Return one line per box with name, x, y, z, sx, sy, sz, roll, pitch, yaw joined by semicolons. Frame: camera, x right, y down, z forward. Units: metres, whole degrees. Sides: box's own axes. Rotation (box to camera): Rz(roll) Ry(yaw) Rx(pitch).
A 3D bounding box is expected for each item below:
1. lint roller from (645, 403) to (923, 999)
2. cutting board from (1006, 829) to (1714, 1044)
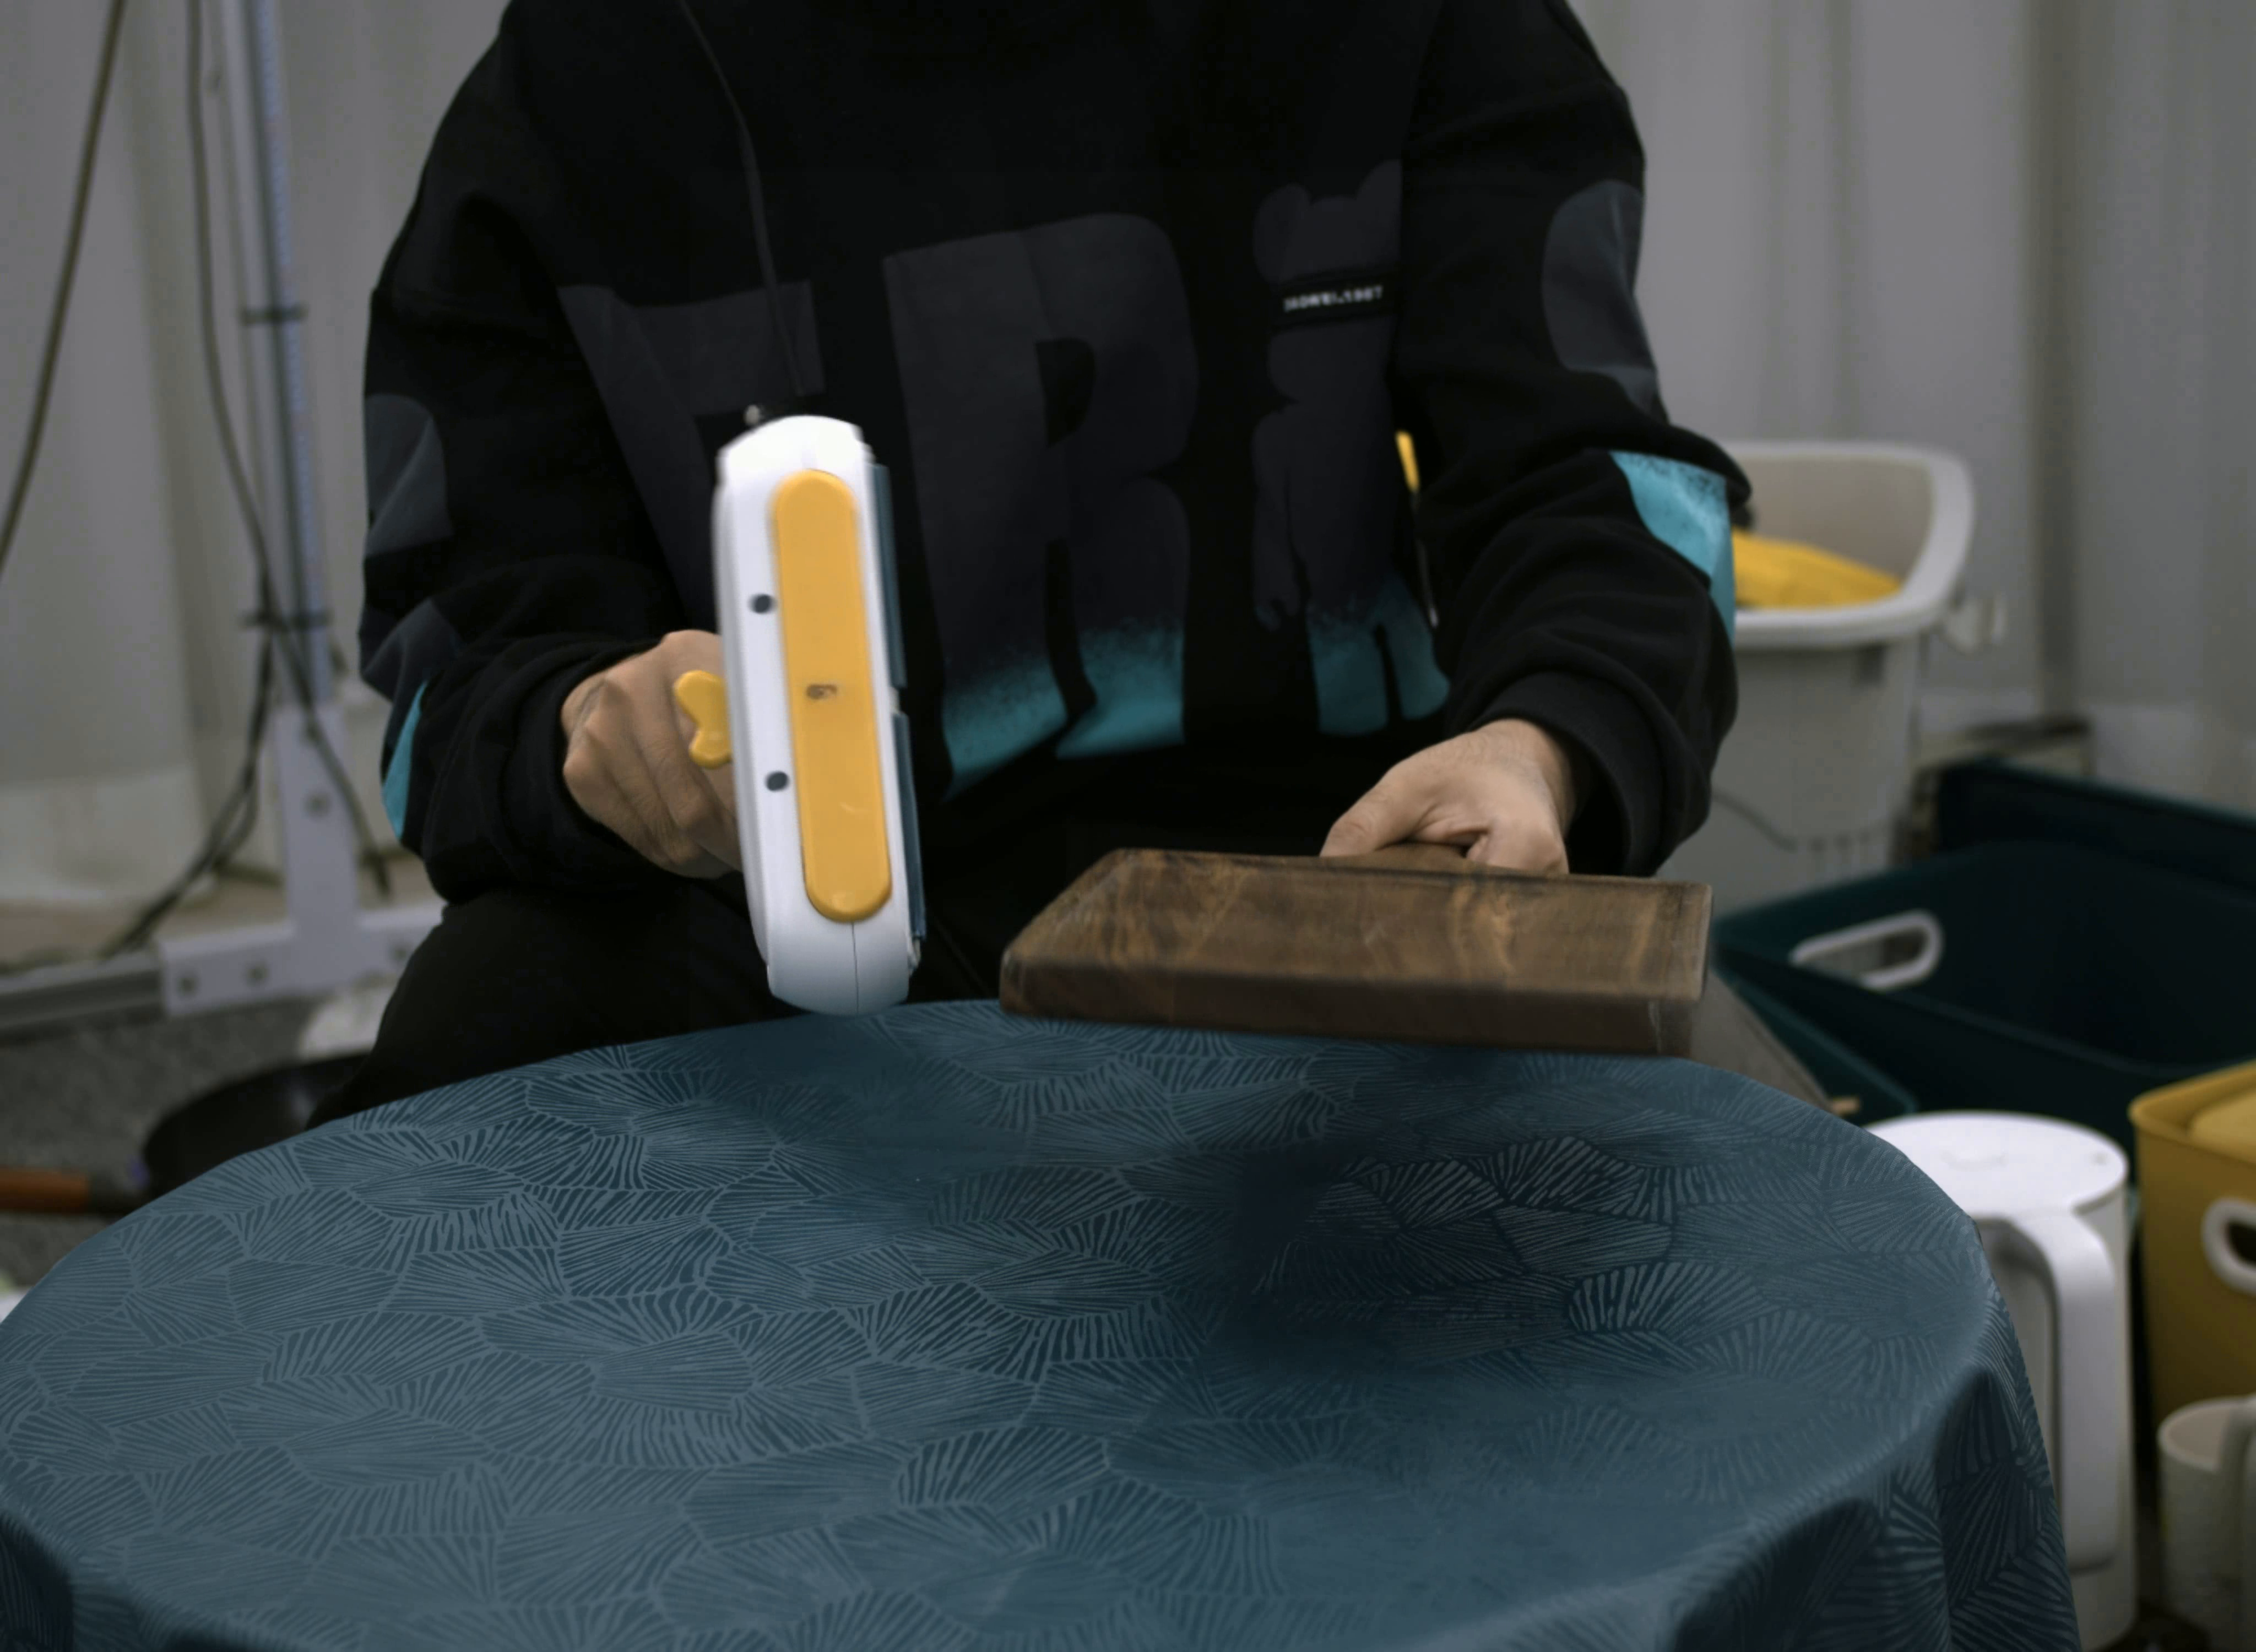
lint roller;-0.118;-0.025;1.809;0.074;0.194;0.191;-5;-14;-15
cutting board;0.080;0.029;1.679;0.200;0.023;0.352;3;6;6
